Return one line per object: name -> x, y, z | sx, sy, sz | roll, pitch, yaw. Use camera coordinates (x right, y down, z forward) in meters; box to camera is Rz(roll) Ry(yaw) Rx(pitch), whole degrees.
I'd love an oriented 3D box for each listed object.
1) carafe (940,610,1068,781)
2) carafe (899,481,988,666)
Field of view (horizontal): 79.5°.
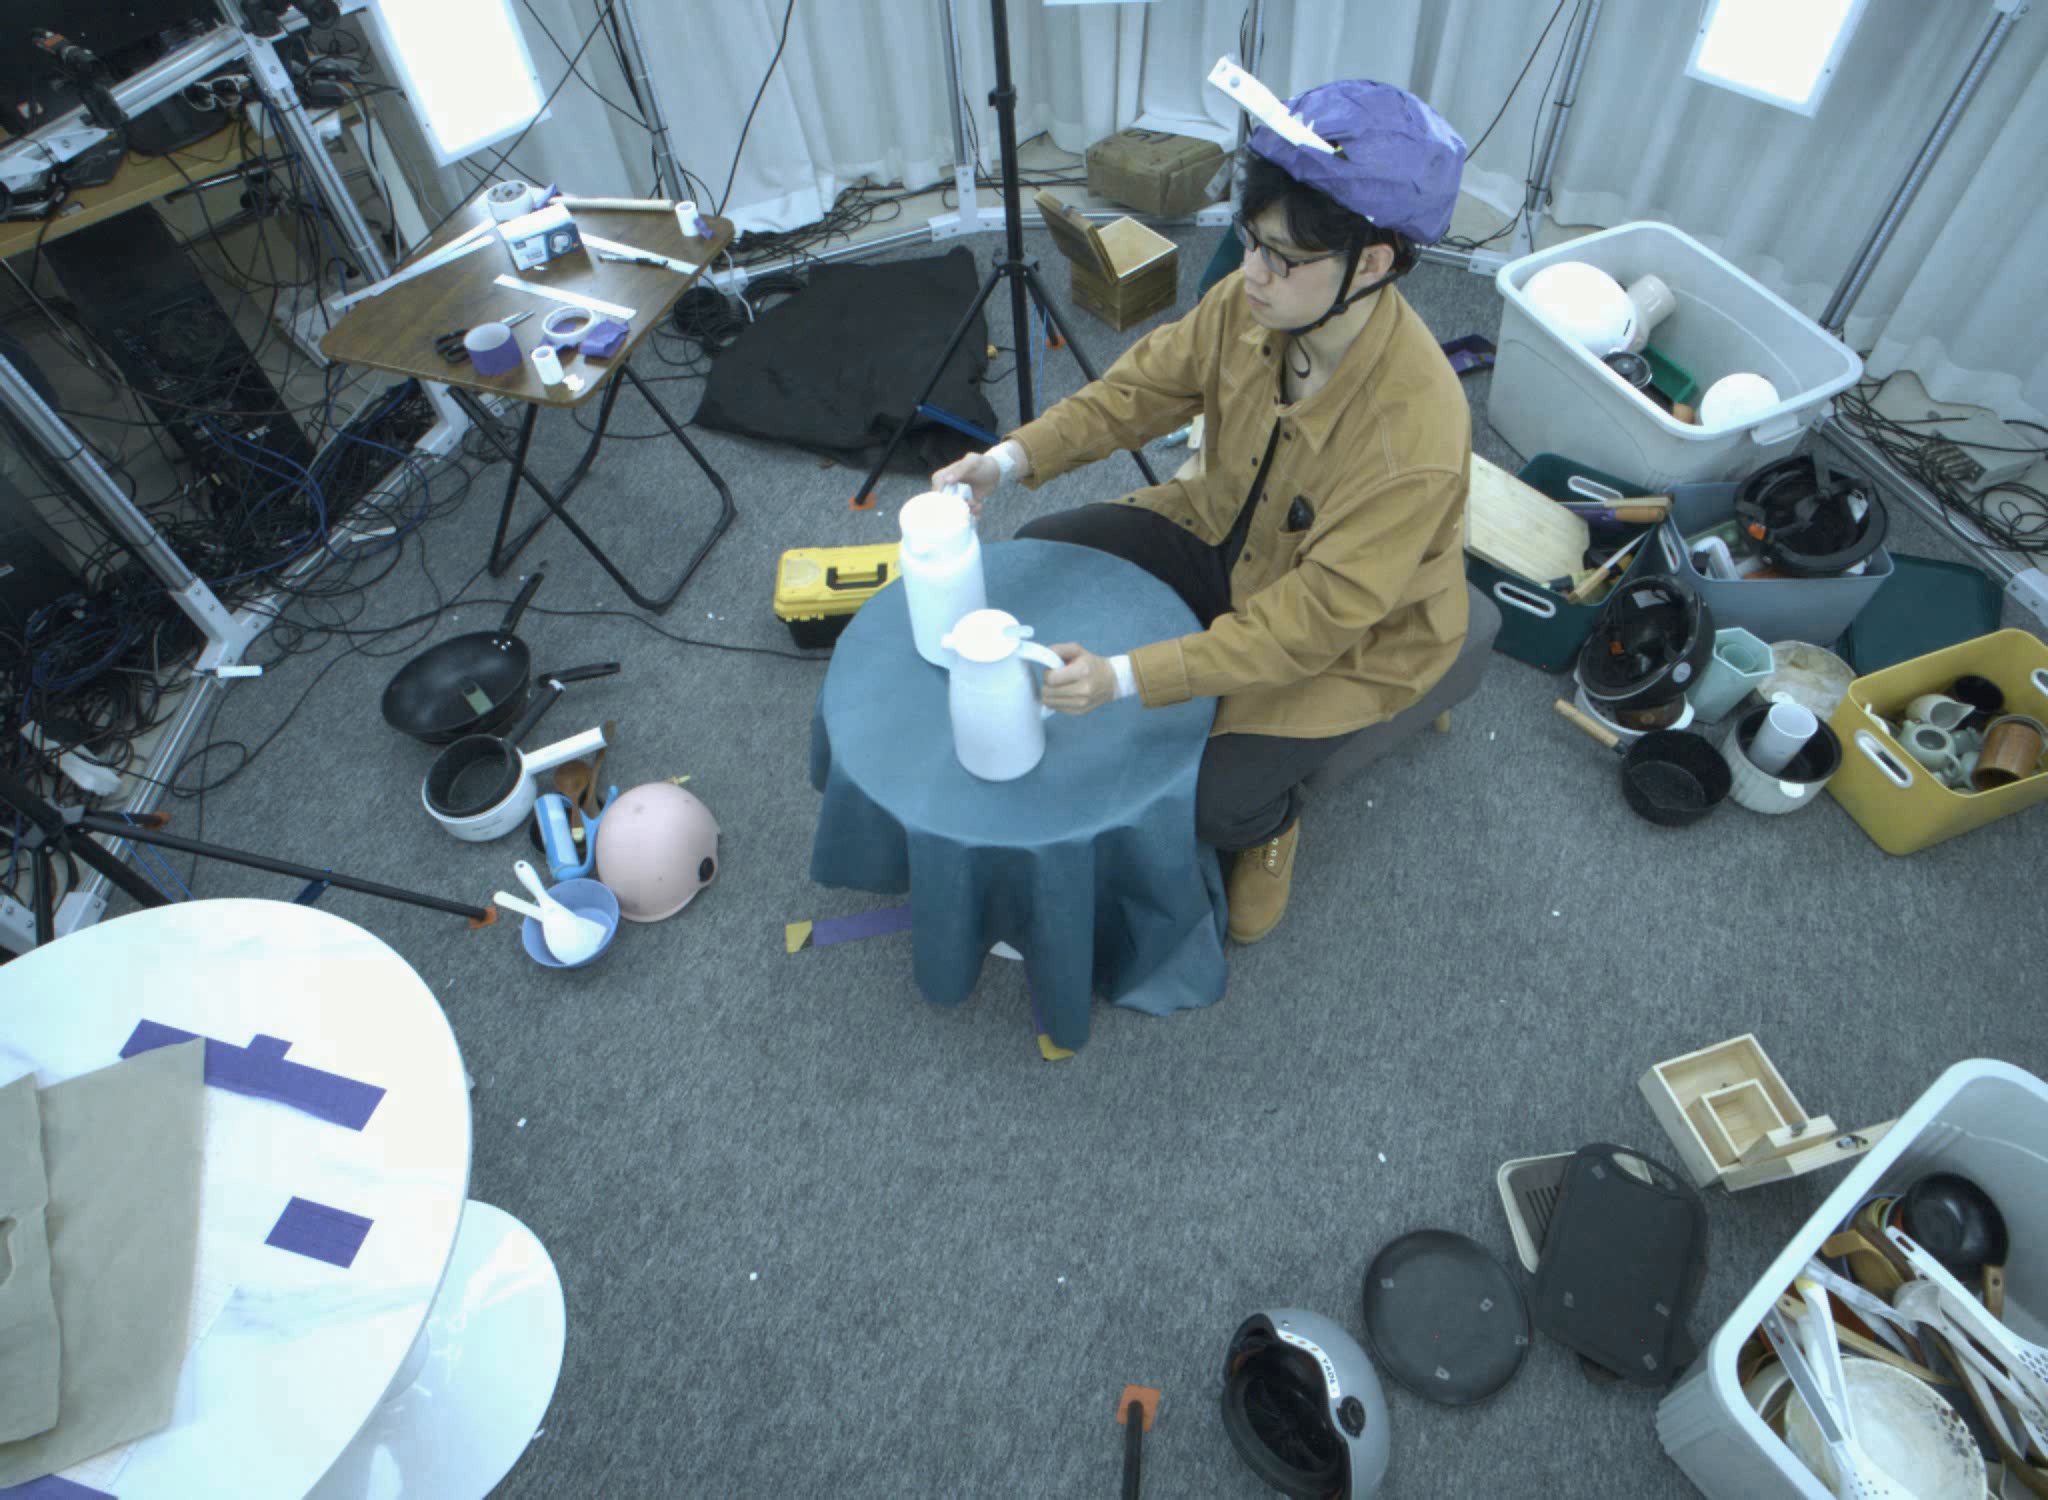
carafe -> -0.023, -0.081, 1.688 | 0.167, 0.251, 0.131 | 2, 54, 4
carafe -> -0.114, -0.263, 1.809 | 0.122, 0.272, 0.172 | 12, 56, 14
